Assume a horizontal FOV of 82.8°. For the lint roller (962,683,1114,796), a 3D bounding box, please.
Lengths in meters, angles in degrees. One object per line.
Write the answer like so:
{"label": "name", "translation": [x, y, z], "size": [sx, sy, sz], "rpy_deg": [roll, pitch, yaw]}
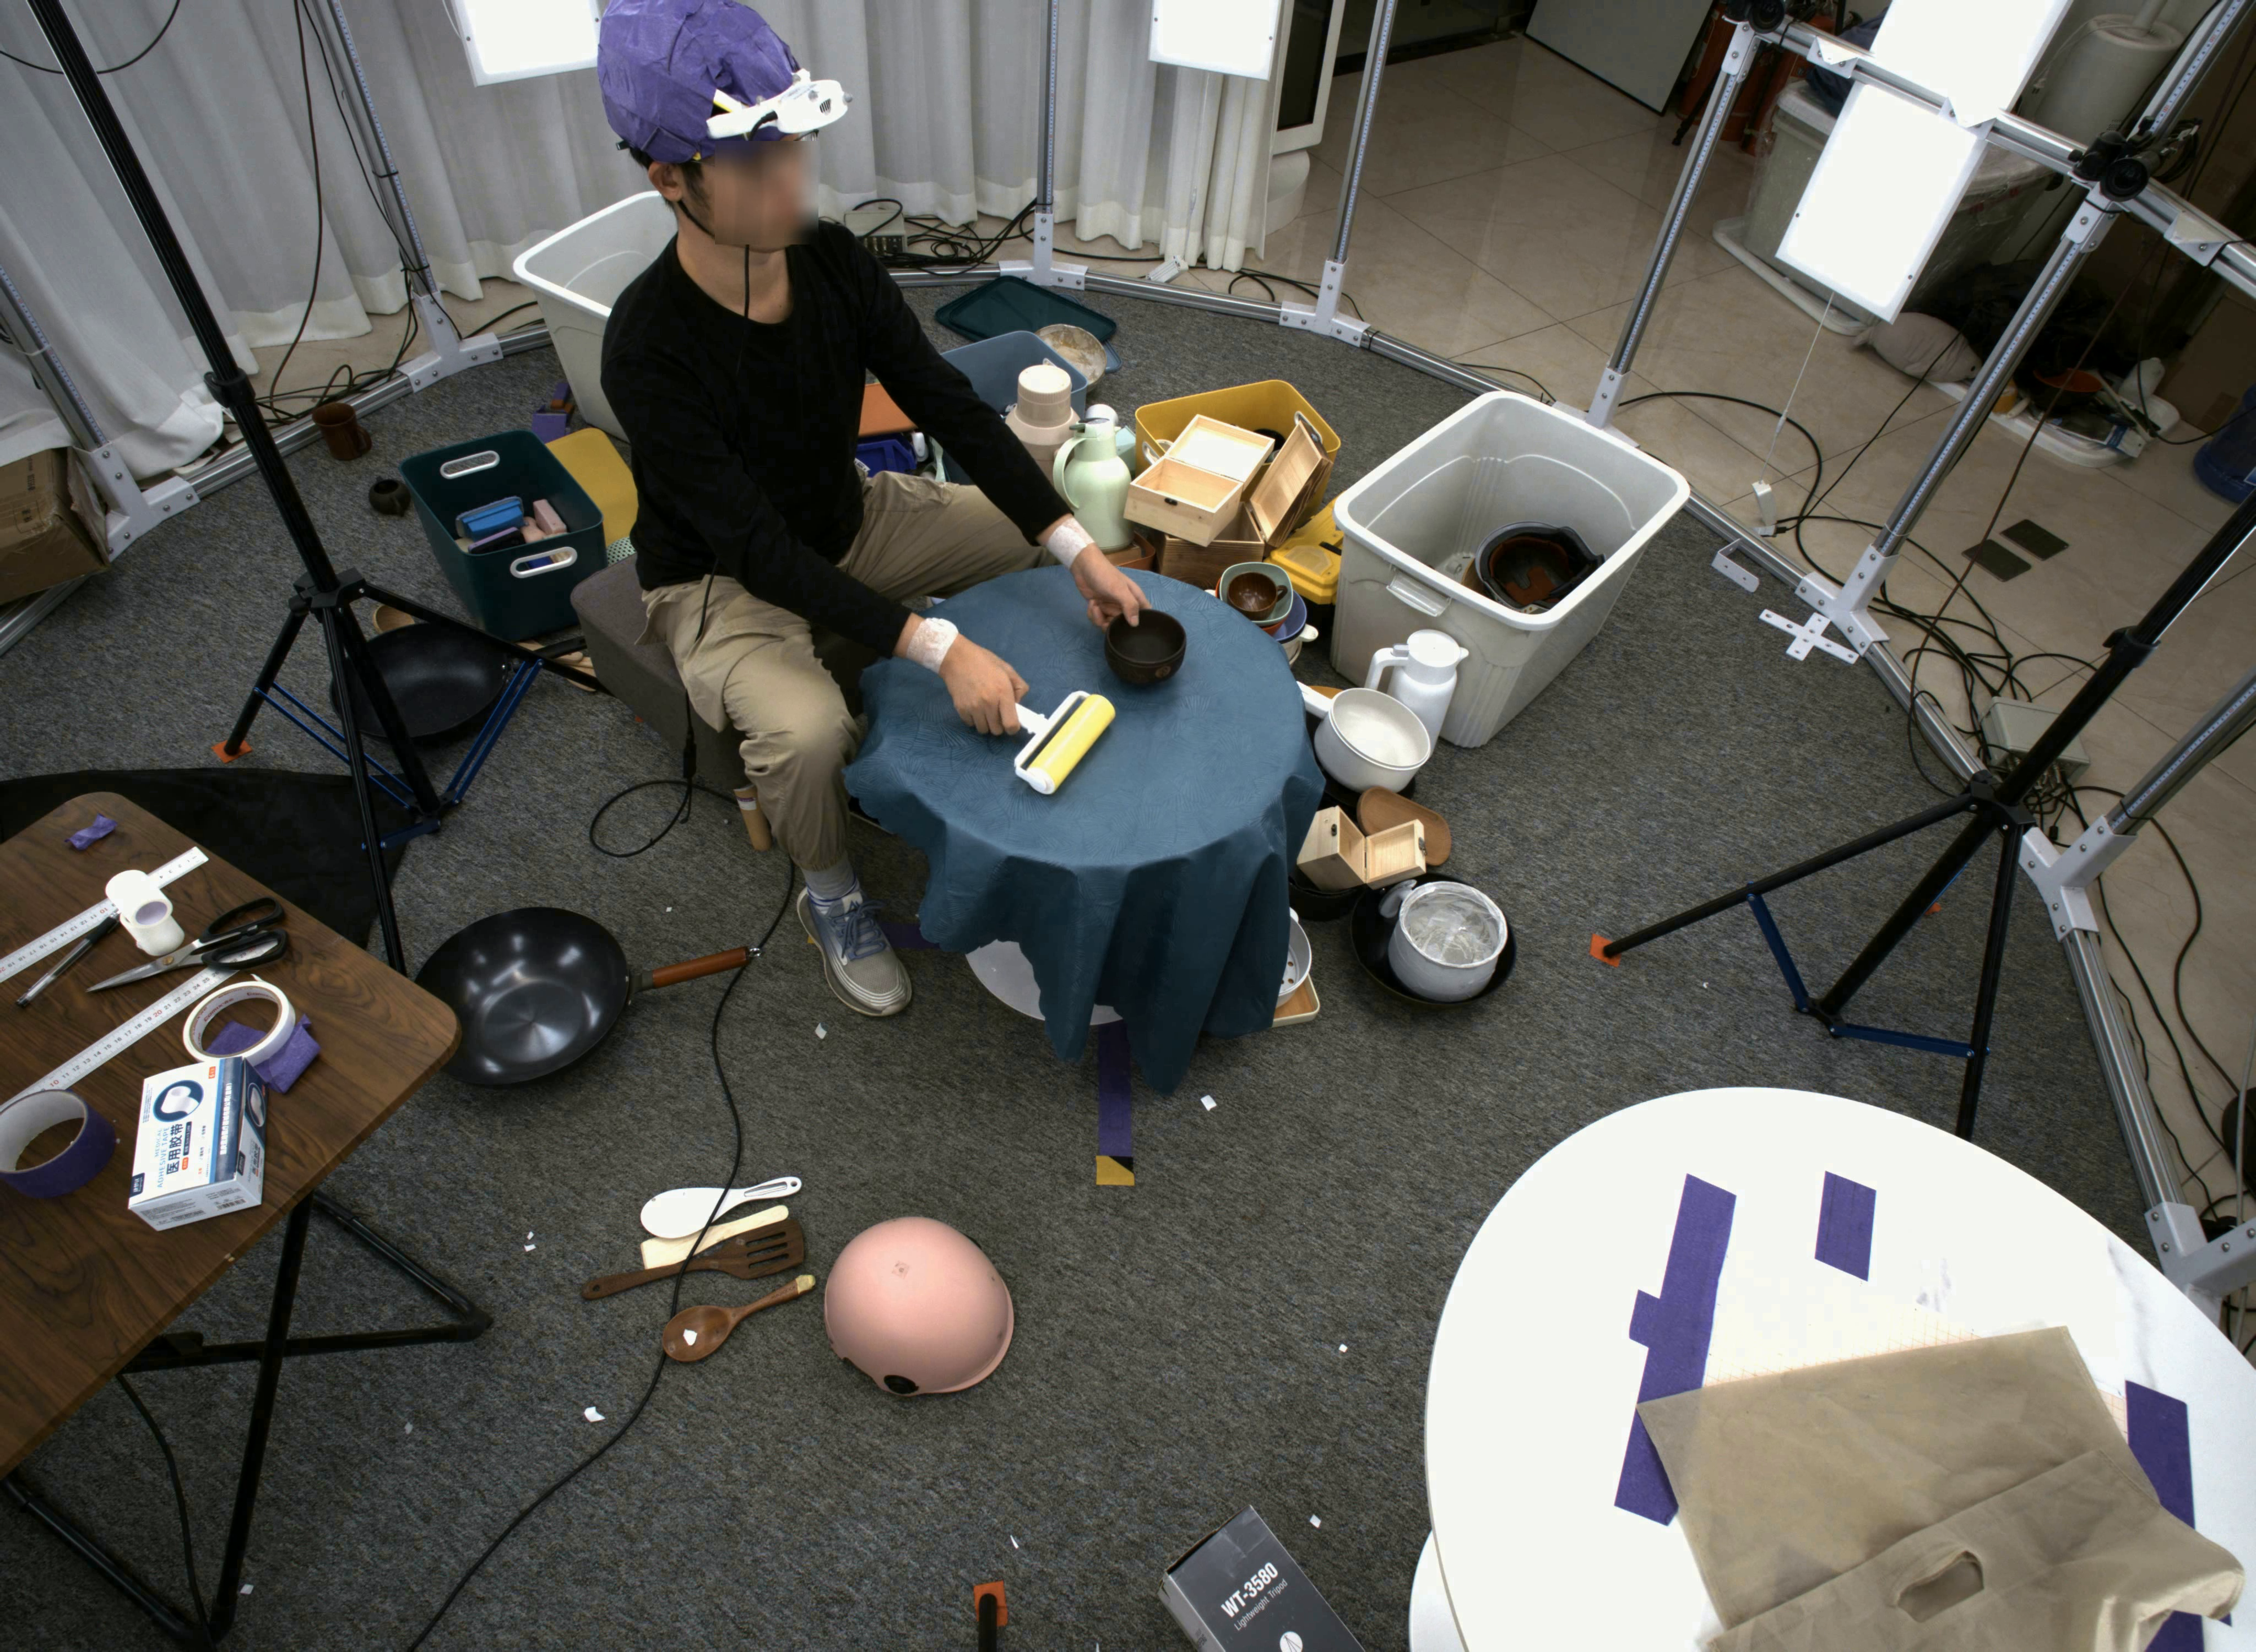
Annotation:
{"label": "lint roller", "translation": [-0.138, -0.148, 1.737], "size": [0.192, 0.050, 0.177], "rpy_deg": [33, 53, 3]}

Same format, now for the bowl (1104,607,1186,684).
{"label": "bowl", "translation": [0.023, -0.250, 1.840], "size": [0.118, 0.068, 0.121], "rpy_deg": [3, 49, -3]}
